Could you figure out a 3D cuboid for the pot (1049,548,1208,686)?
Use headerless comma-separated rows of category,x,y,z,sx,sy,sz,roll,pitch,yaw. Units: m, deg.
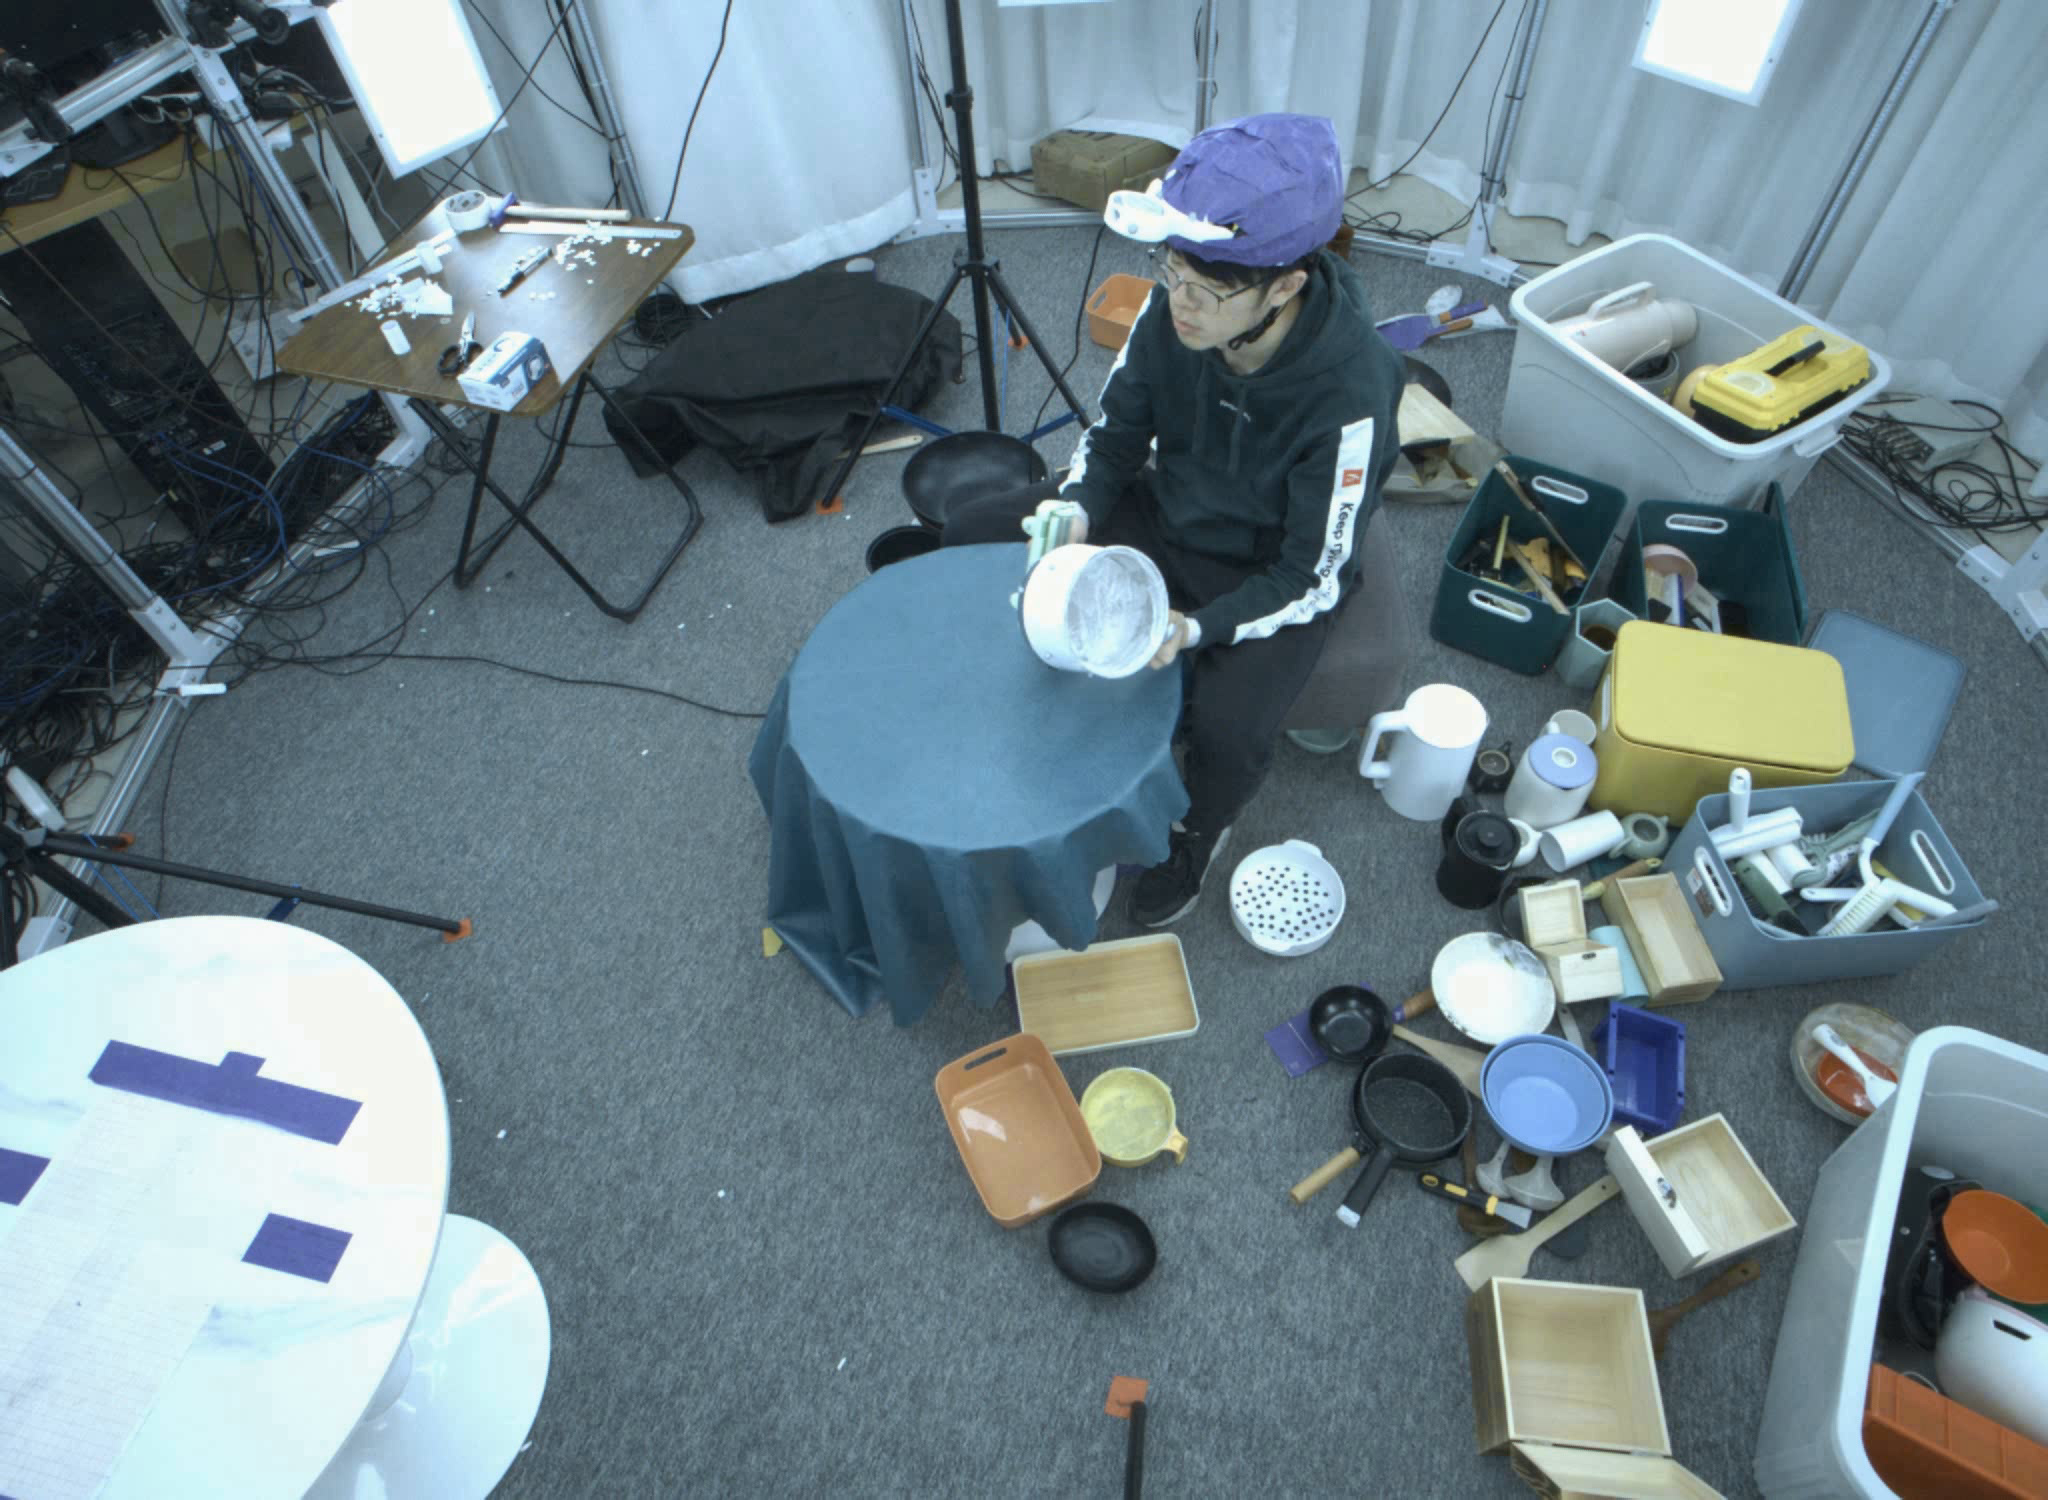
pot,0.155,-0.179,1.697,0.133,0.239,0.179,21,95,55

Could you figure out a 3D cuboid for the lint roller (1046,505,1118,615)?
lint roller,0.087,-0.275,1.809,0.082,0.199,0.183,12,27,5
